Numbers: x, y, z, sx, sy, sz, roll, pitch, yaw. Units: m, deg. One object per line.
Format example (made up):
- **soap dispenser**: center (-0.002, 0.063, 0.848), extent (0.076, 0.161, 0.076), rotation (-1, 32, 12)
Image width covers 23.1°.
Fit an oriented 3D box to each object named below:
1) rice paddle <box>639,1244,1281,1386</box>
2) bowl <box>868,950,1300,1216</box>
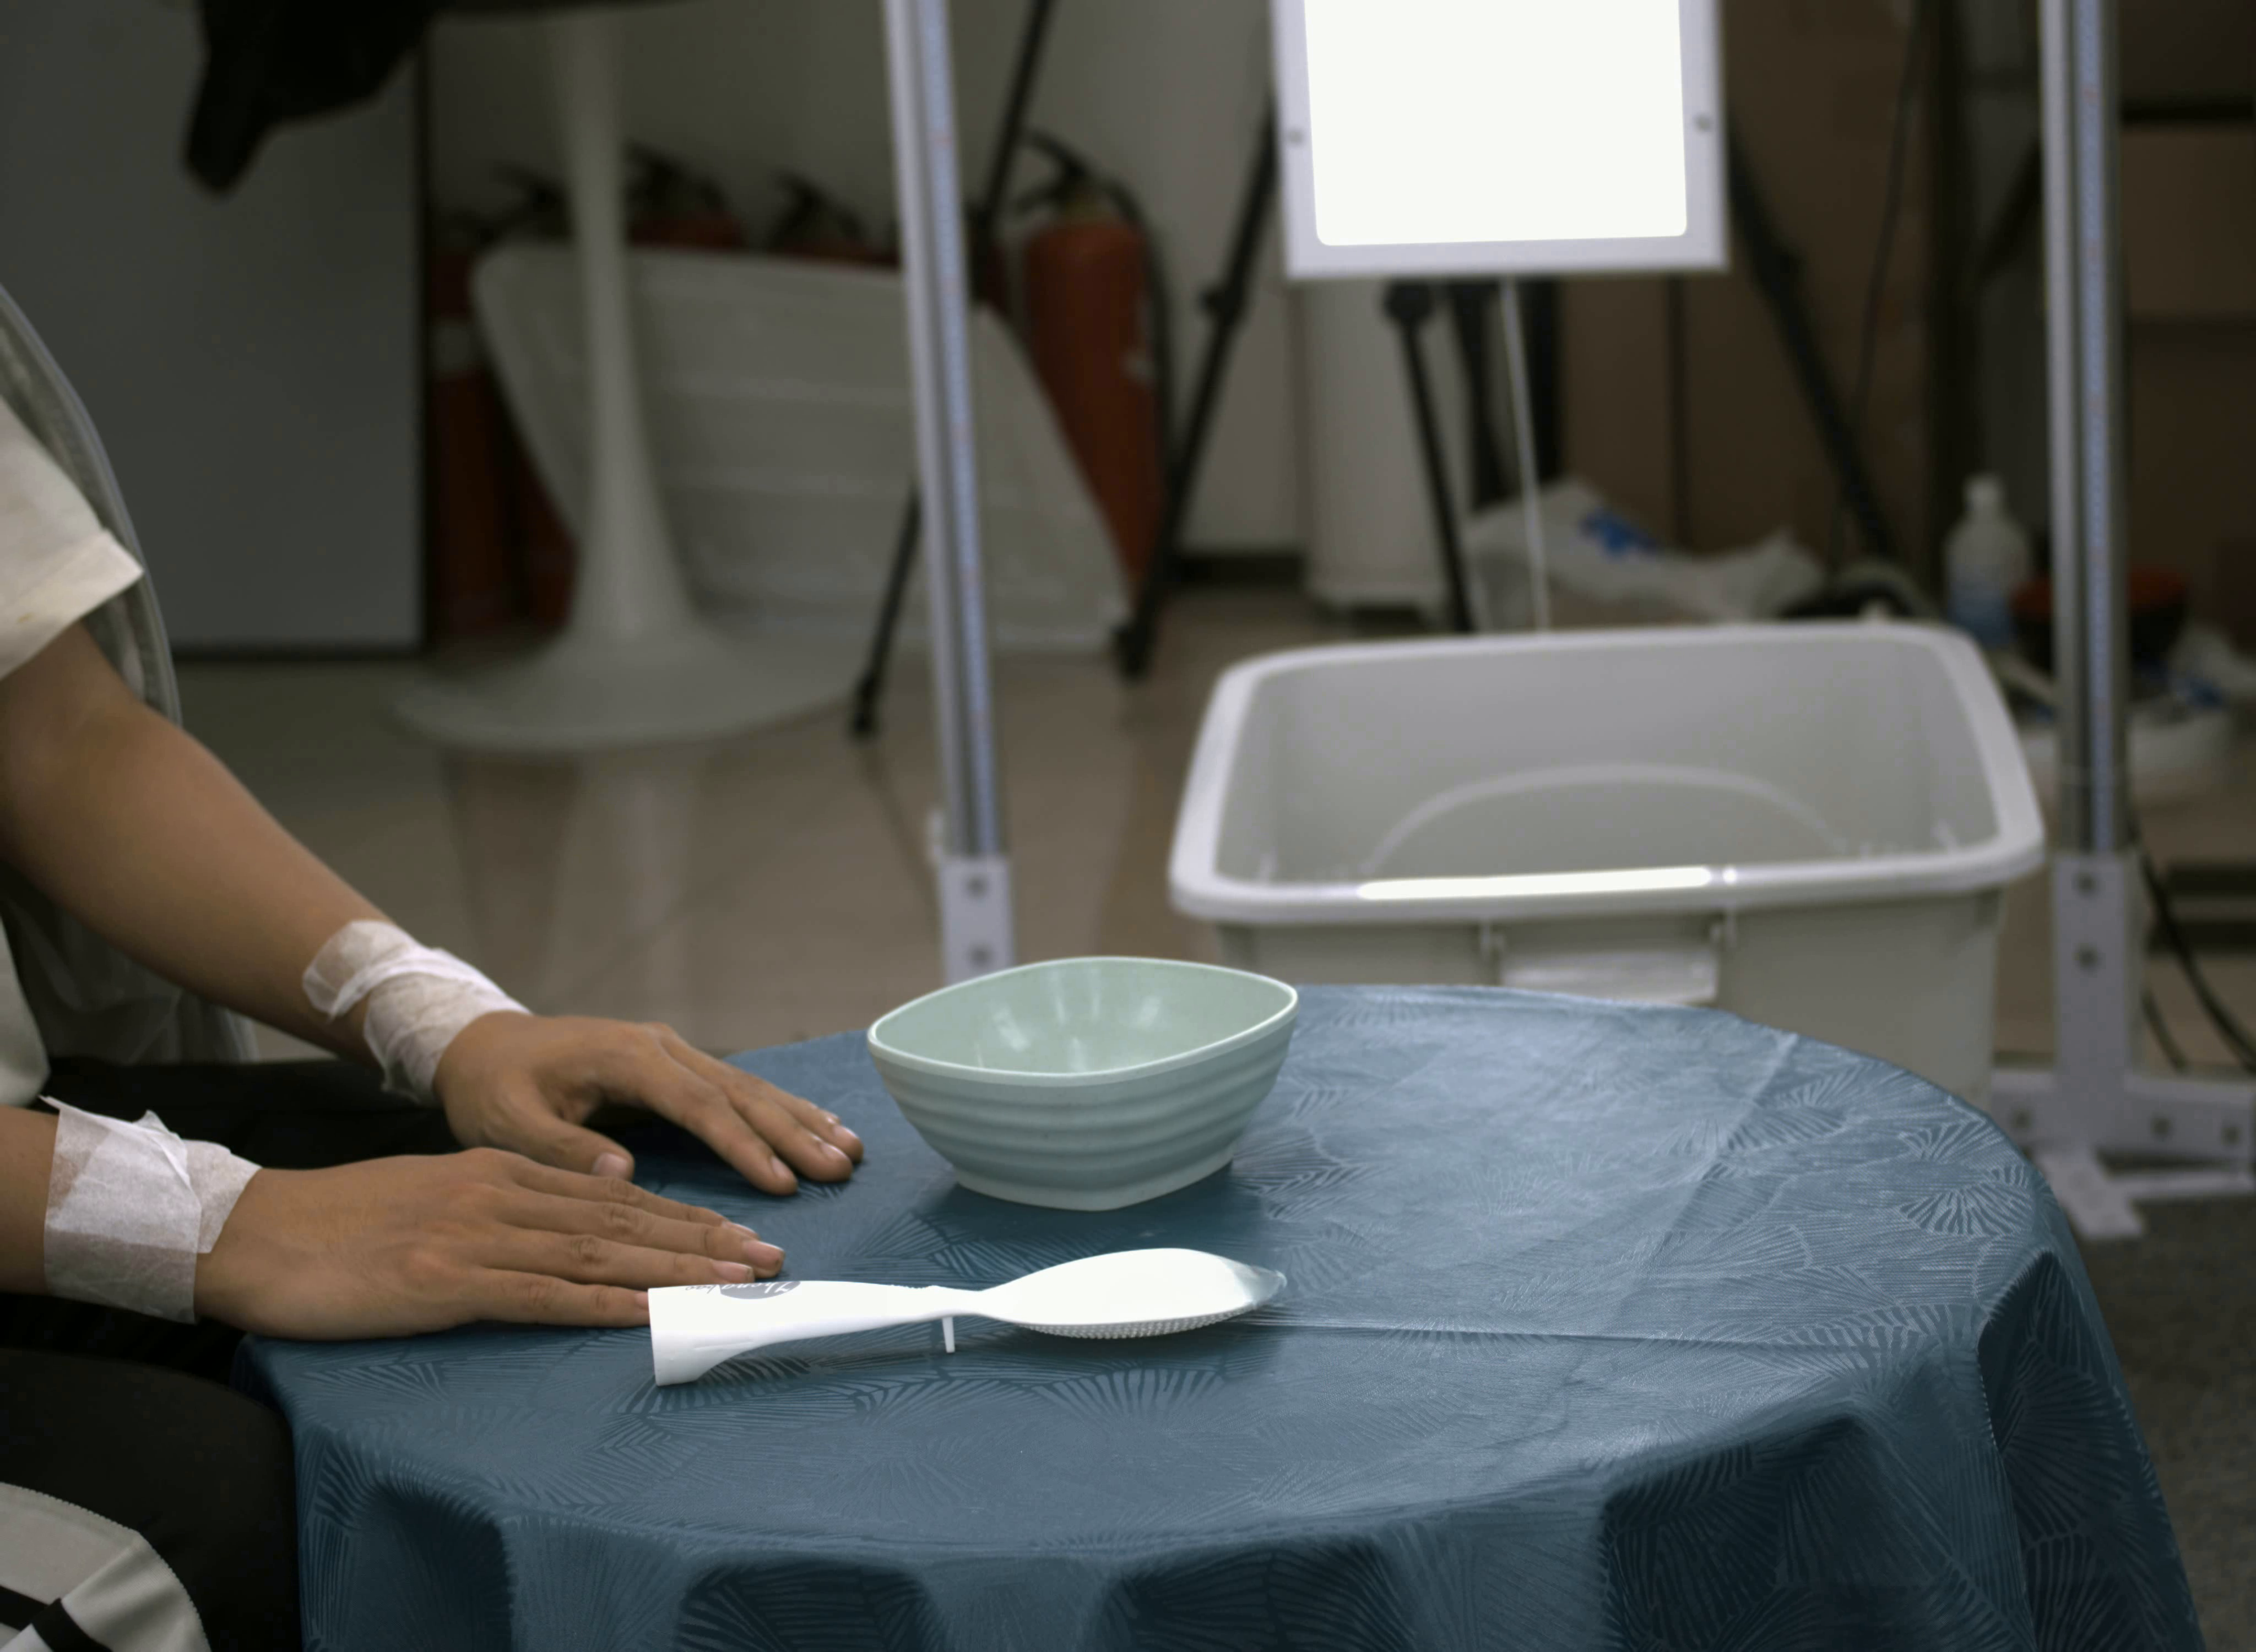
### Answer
- **rice paddle**: center (-0.052, 0.151, 1.752), extent (0.204, 0.029, 0.069), rotation (-6, 15, -2)
- **bowl**: center (-0.014, 0.093, 1.921), extent (0.151, 0.059, 0.151), rotation (-4, 16, 0)
